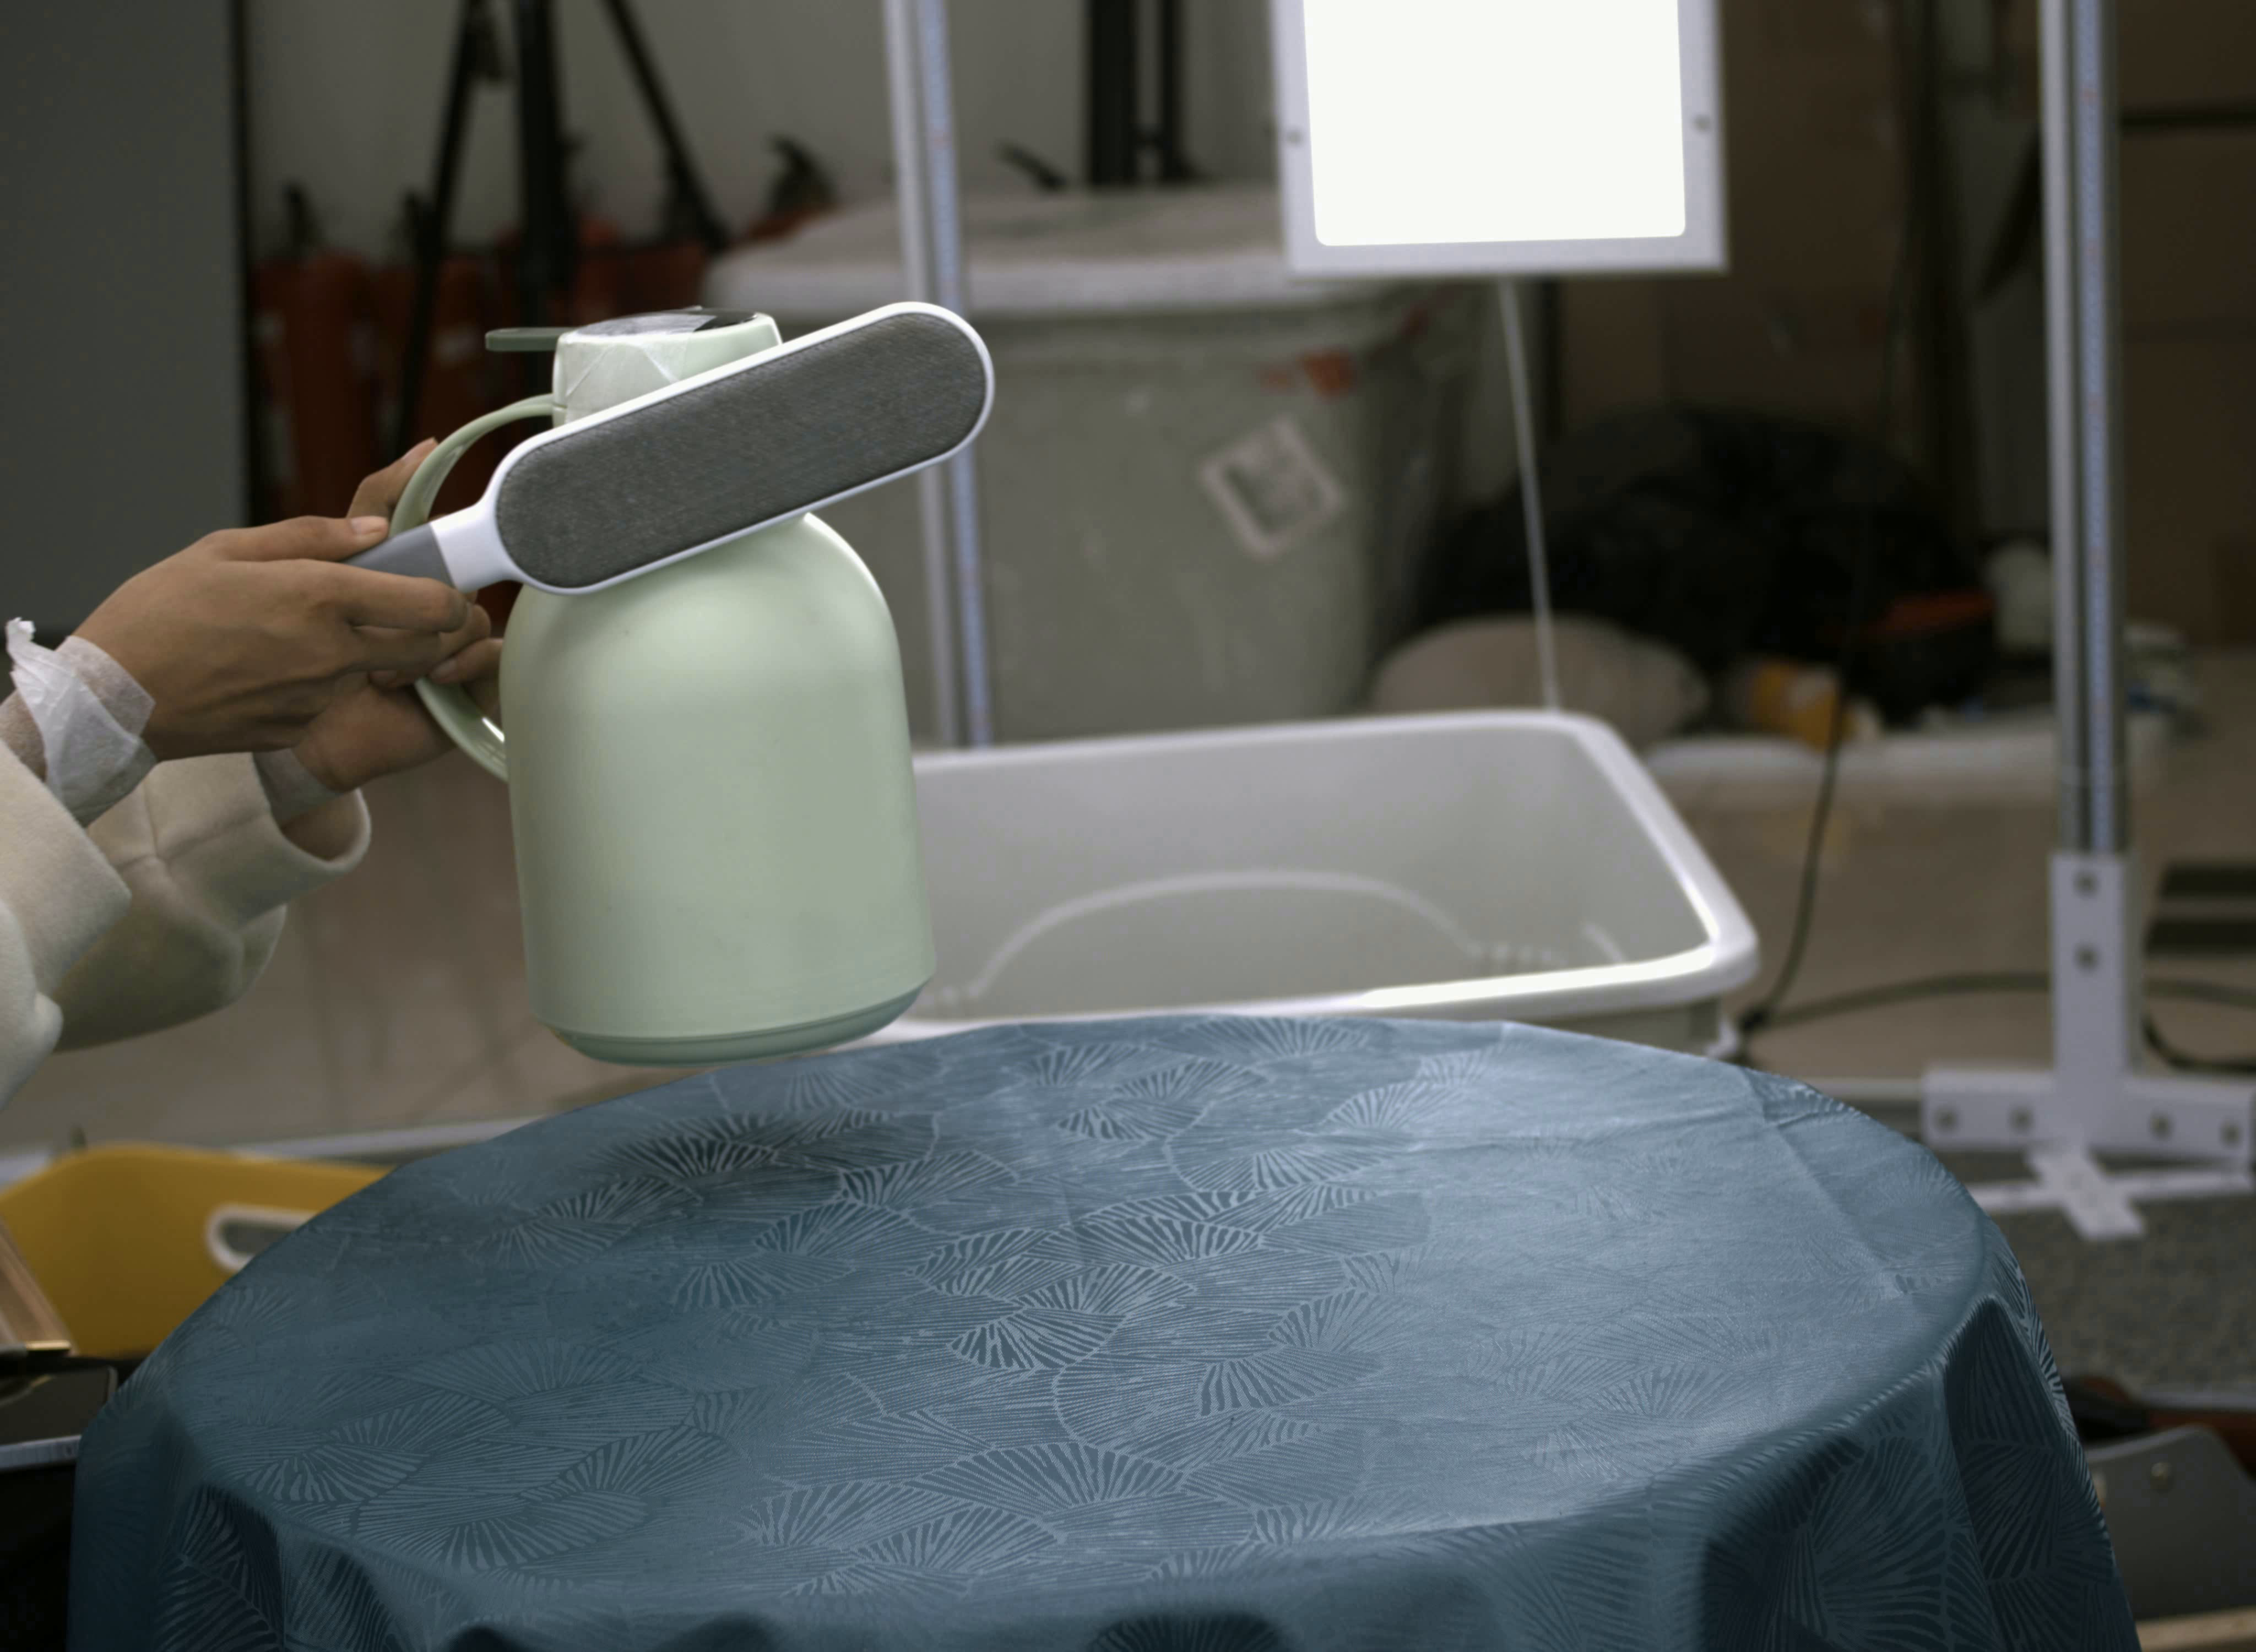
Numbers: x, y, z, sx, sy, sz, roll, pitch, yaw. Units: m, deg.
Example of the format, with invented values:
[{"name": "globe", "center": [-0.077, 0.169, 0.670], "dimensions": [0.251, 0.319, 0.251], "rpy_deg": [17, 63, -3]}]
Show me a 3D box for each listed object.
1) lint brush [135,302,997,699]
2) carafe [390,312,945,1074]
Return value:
[{"name": "lint brush", "center": [-0.189, -0.107, 1.863], "dimensions": [0.307, 0.060, 0.021], "rpy_deg": [-21, 12, -3]}, {"name": "carafe", "center": [-0.163, -0.049, 1.942], "dimensions": [0.189, 0.257, 0.142], "rpy_deg": [-5, 13, 19]}]
